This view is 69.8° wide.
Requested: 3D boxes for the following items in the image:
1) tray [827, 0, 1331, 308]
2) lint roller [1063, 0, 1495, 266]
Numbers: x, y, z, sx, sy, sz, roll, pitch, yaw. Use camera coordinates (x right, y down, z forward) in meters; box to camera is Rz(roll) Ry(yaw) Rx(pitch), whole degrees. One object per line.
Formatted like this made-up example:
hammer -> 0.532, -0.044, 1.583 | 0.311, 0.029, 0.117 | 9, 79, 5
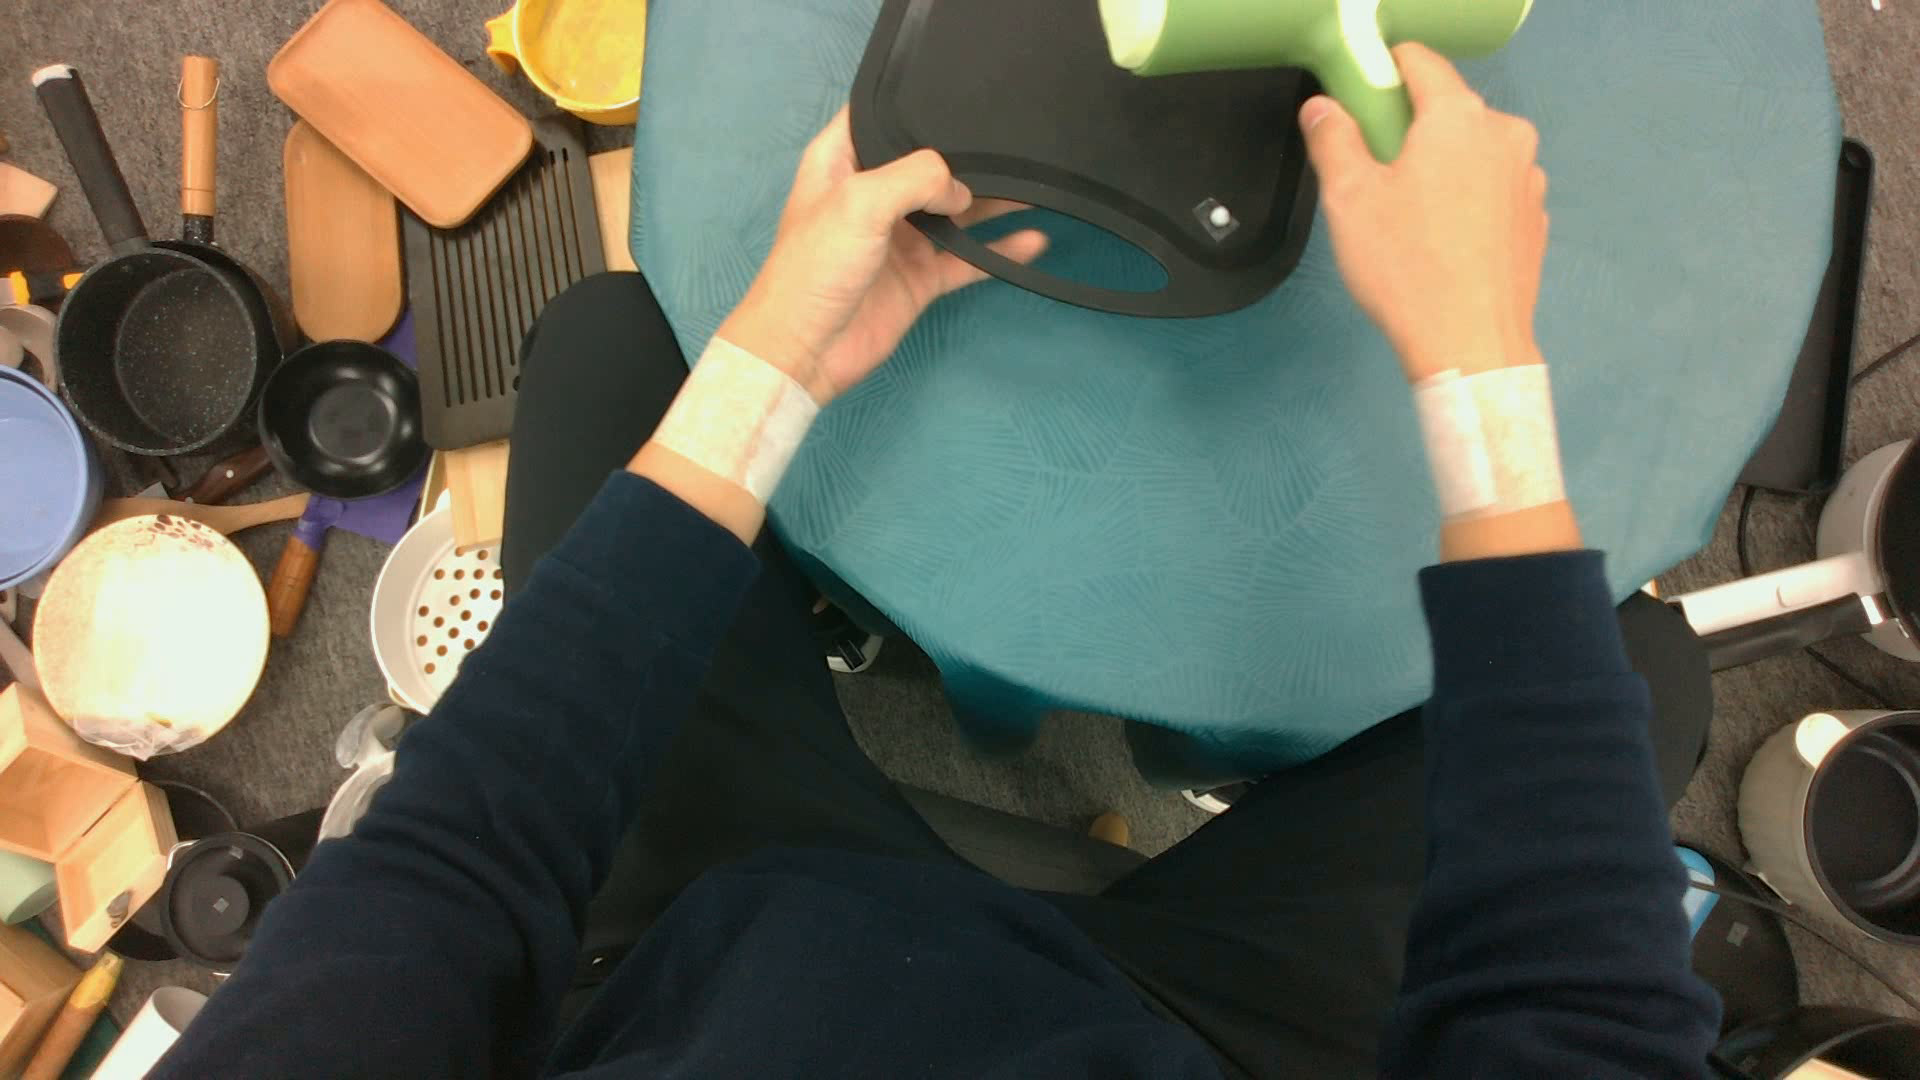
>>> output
tray -> 0.069, -0.254, 0.635 | 0.211, 0.010, 0.326 | 17, 69, -5
lint roller -> 0.157, -0.199, 0.556 | 0.199, 0.082, 0.184 | -9, 56, -19
